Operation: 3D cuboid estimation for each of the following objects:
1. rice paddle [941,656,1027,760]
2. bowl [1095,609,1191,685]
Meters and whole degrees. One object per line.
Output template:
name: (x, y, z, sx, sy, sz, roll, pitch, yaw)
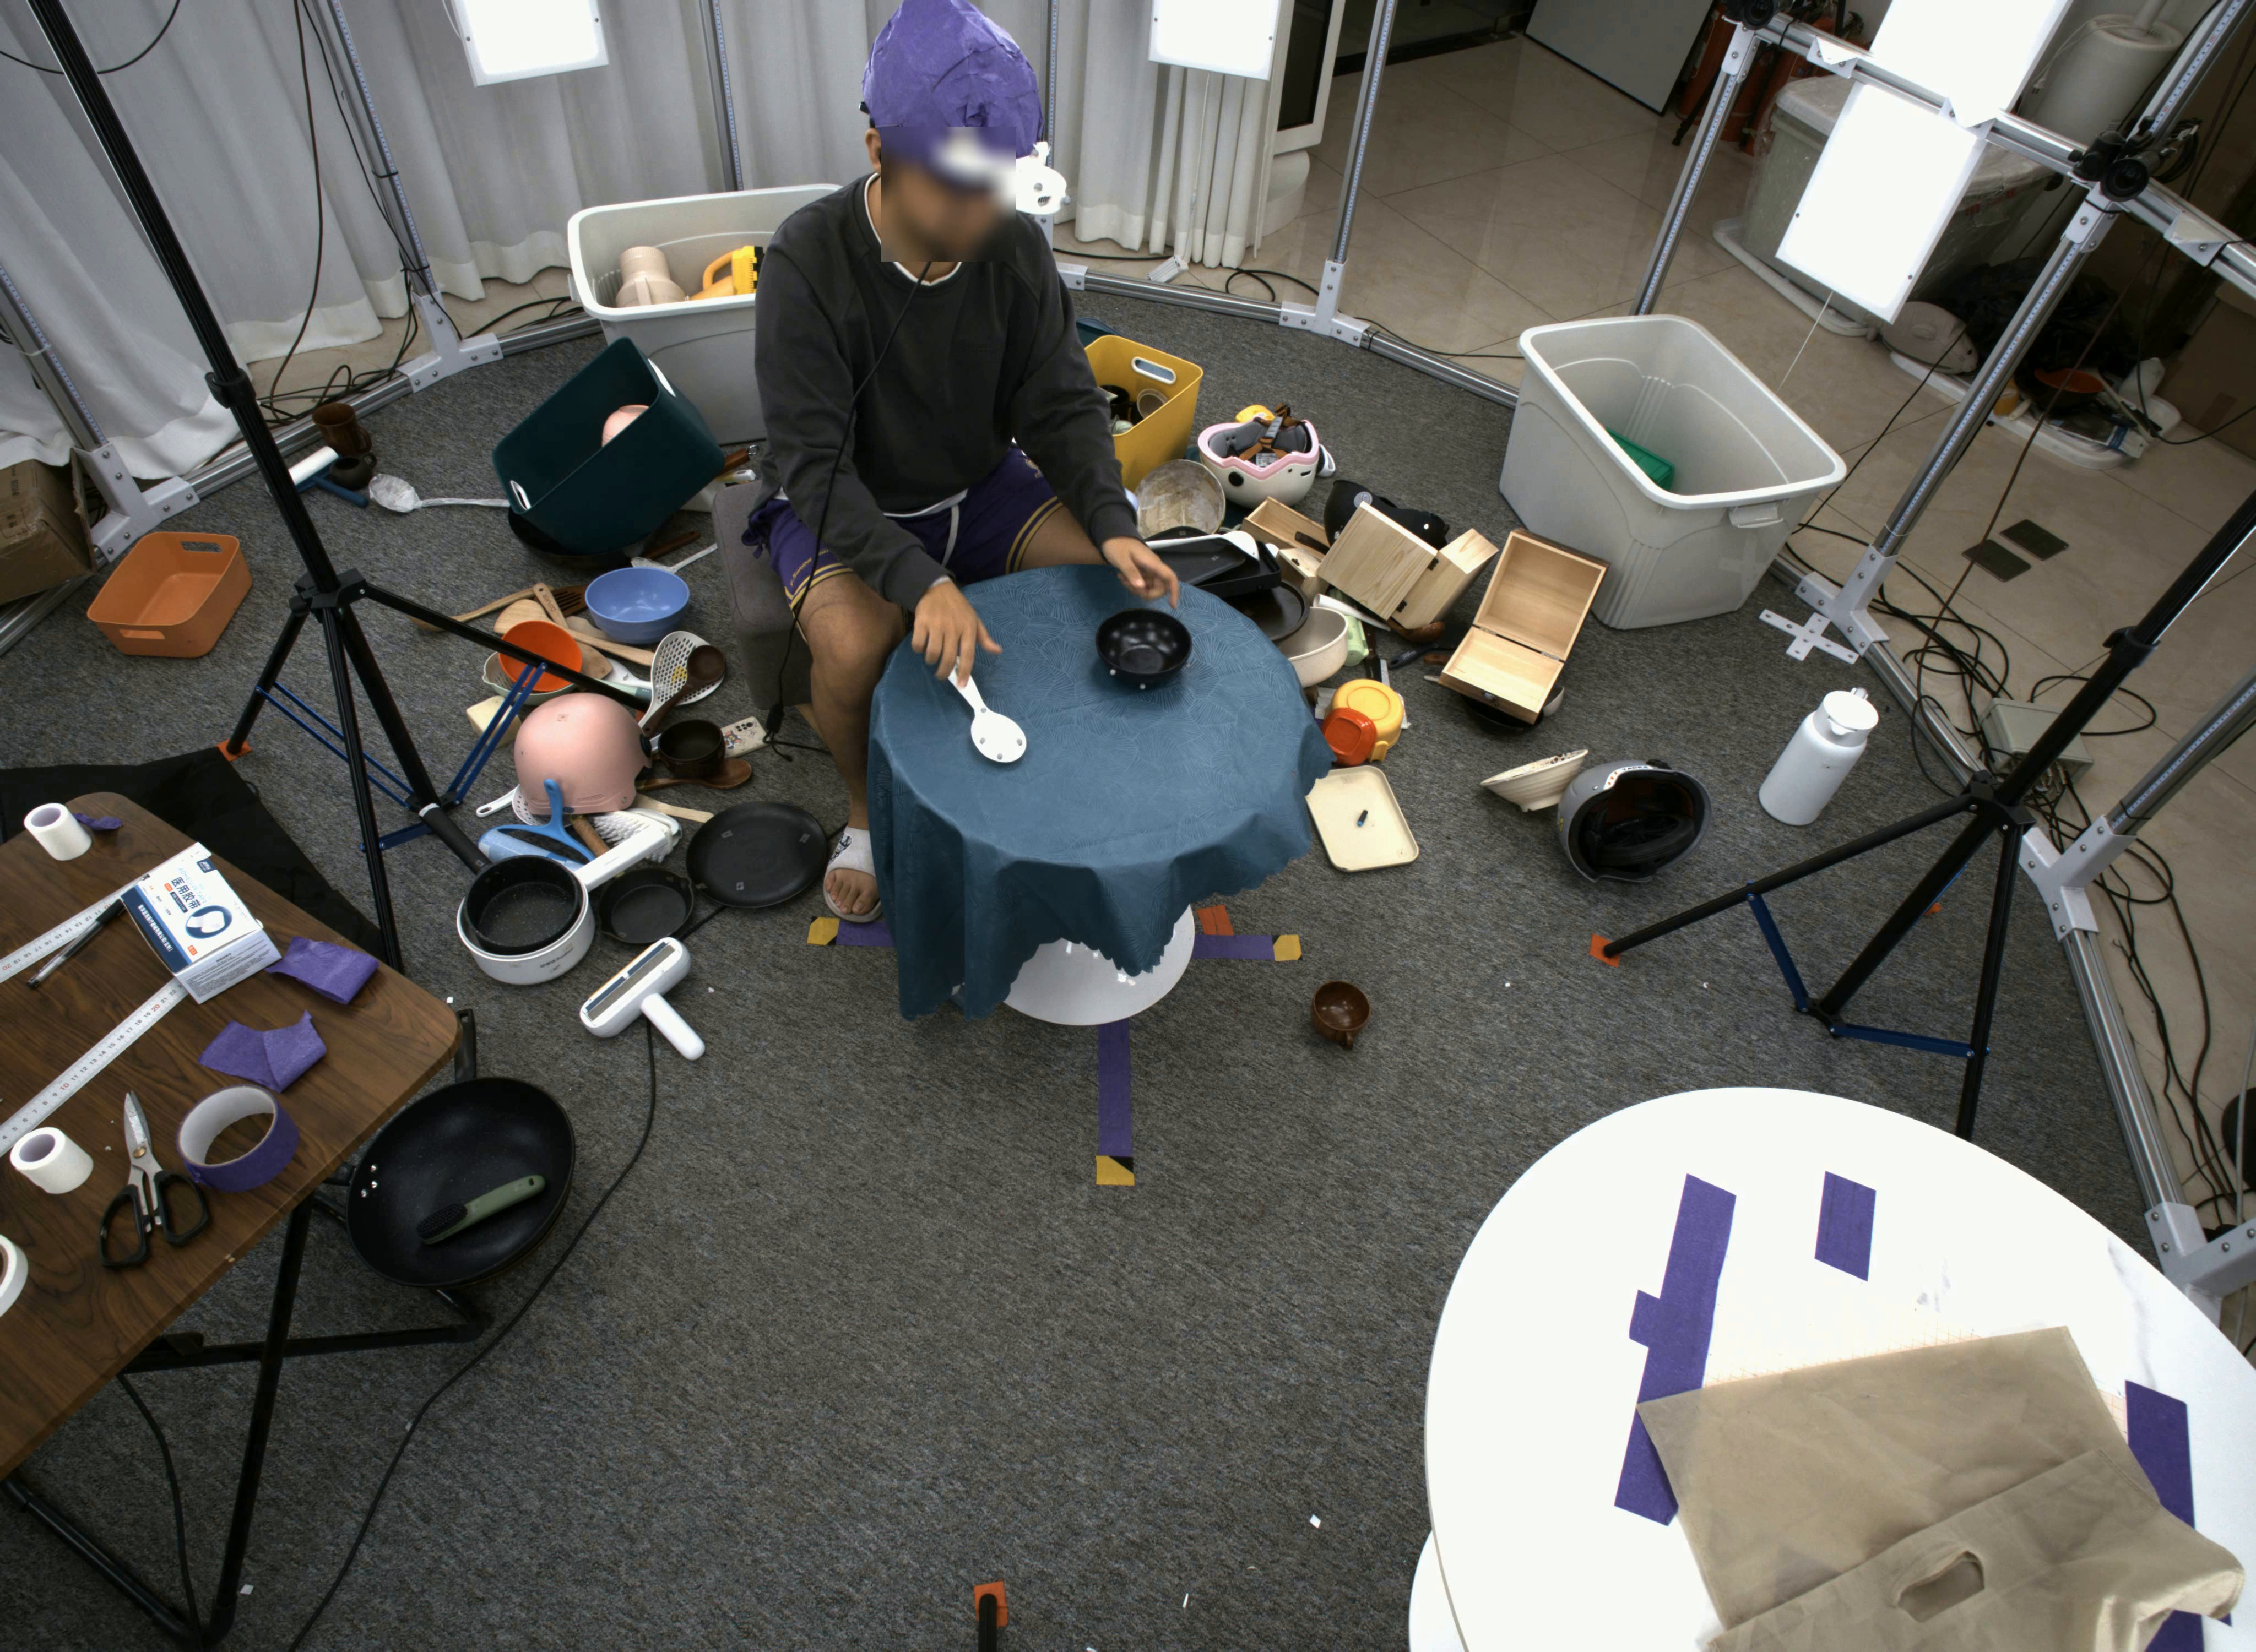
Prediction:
rice paddle: (-0.202, -0.162, 1.774, 0.069, 0.029, 0.210, -20, 52, -21)
bowl: (0.021, -0.251, 1.855, 0.140, 0.048, 0.143, 1, 49, -2)
